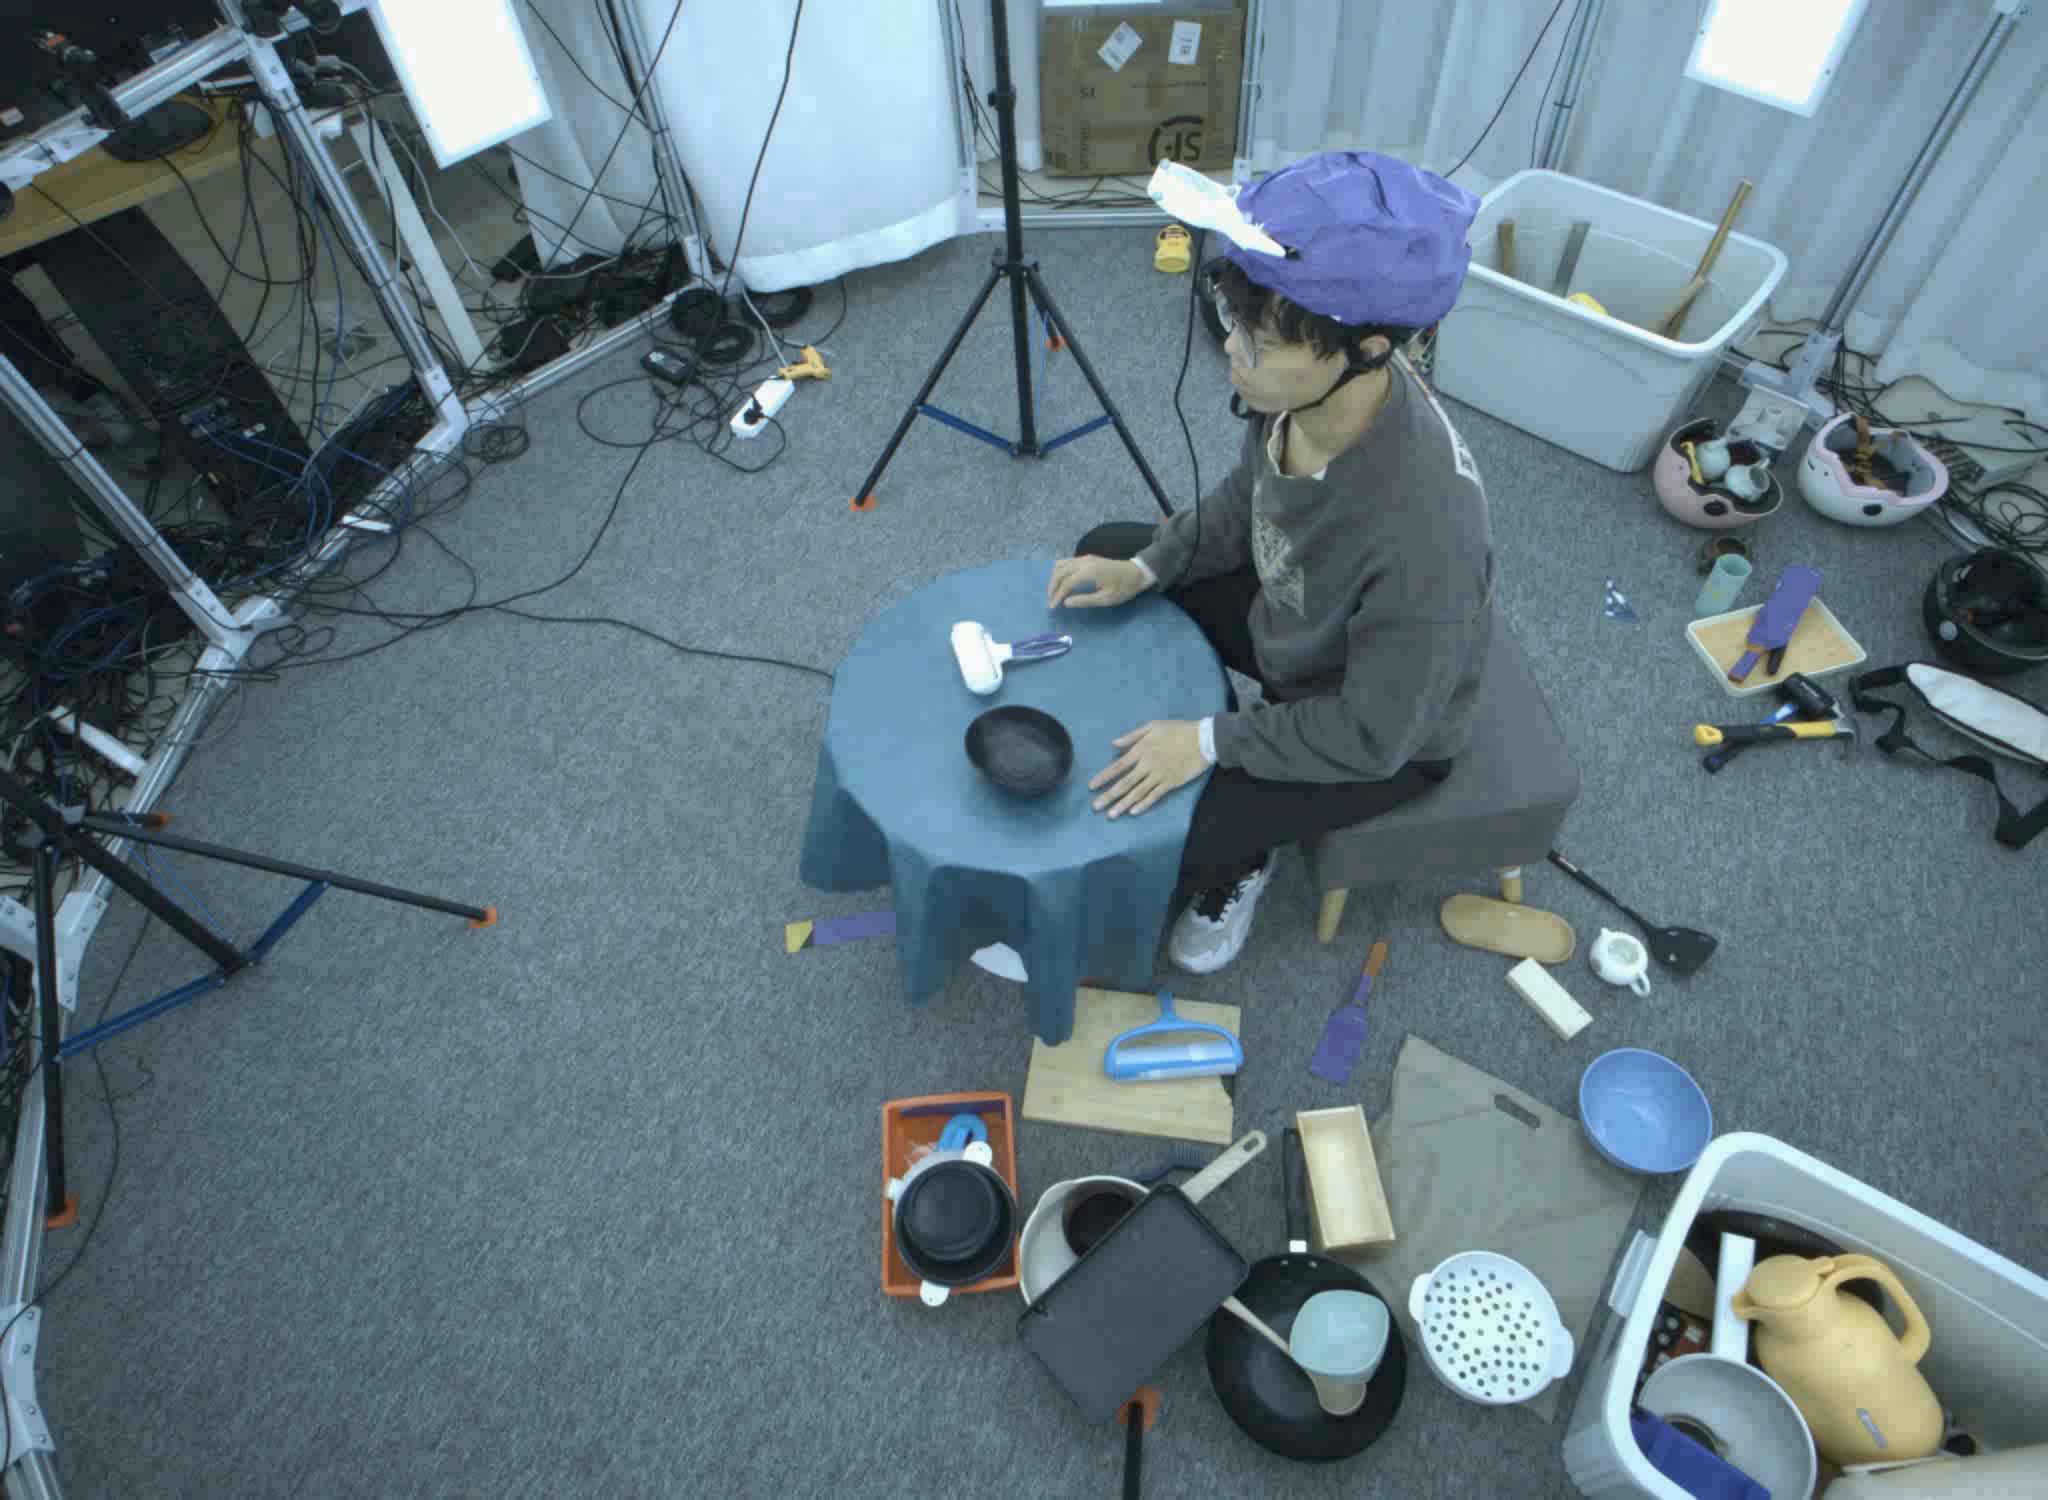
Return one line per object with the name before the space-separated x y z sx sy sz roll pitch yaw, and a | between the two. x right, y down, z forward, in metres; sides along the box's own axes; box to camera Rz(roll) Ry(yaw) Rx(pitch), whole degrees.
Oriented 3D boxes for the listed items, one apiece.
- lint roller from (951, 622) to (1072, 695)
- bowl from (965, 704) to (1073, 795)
lint roller | -0.014 -0.156 1.868 0.181 0.051 0.131 -15 55 -5
bowl | -0.007 0.010 1.739 0.167 0.067 0.138 34 61 26
